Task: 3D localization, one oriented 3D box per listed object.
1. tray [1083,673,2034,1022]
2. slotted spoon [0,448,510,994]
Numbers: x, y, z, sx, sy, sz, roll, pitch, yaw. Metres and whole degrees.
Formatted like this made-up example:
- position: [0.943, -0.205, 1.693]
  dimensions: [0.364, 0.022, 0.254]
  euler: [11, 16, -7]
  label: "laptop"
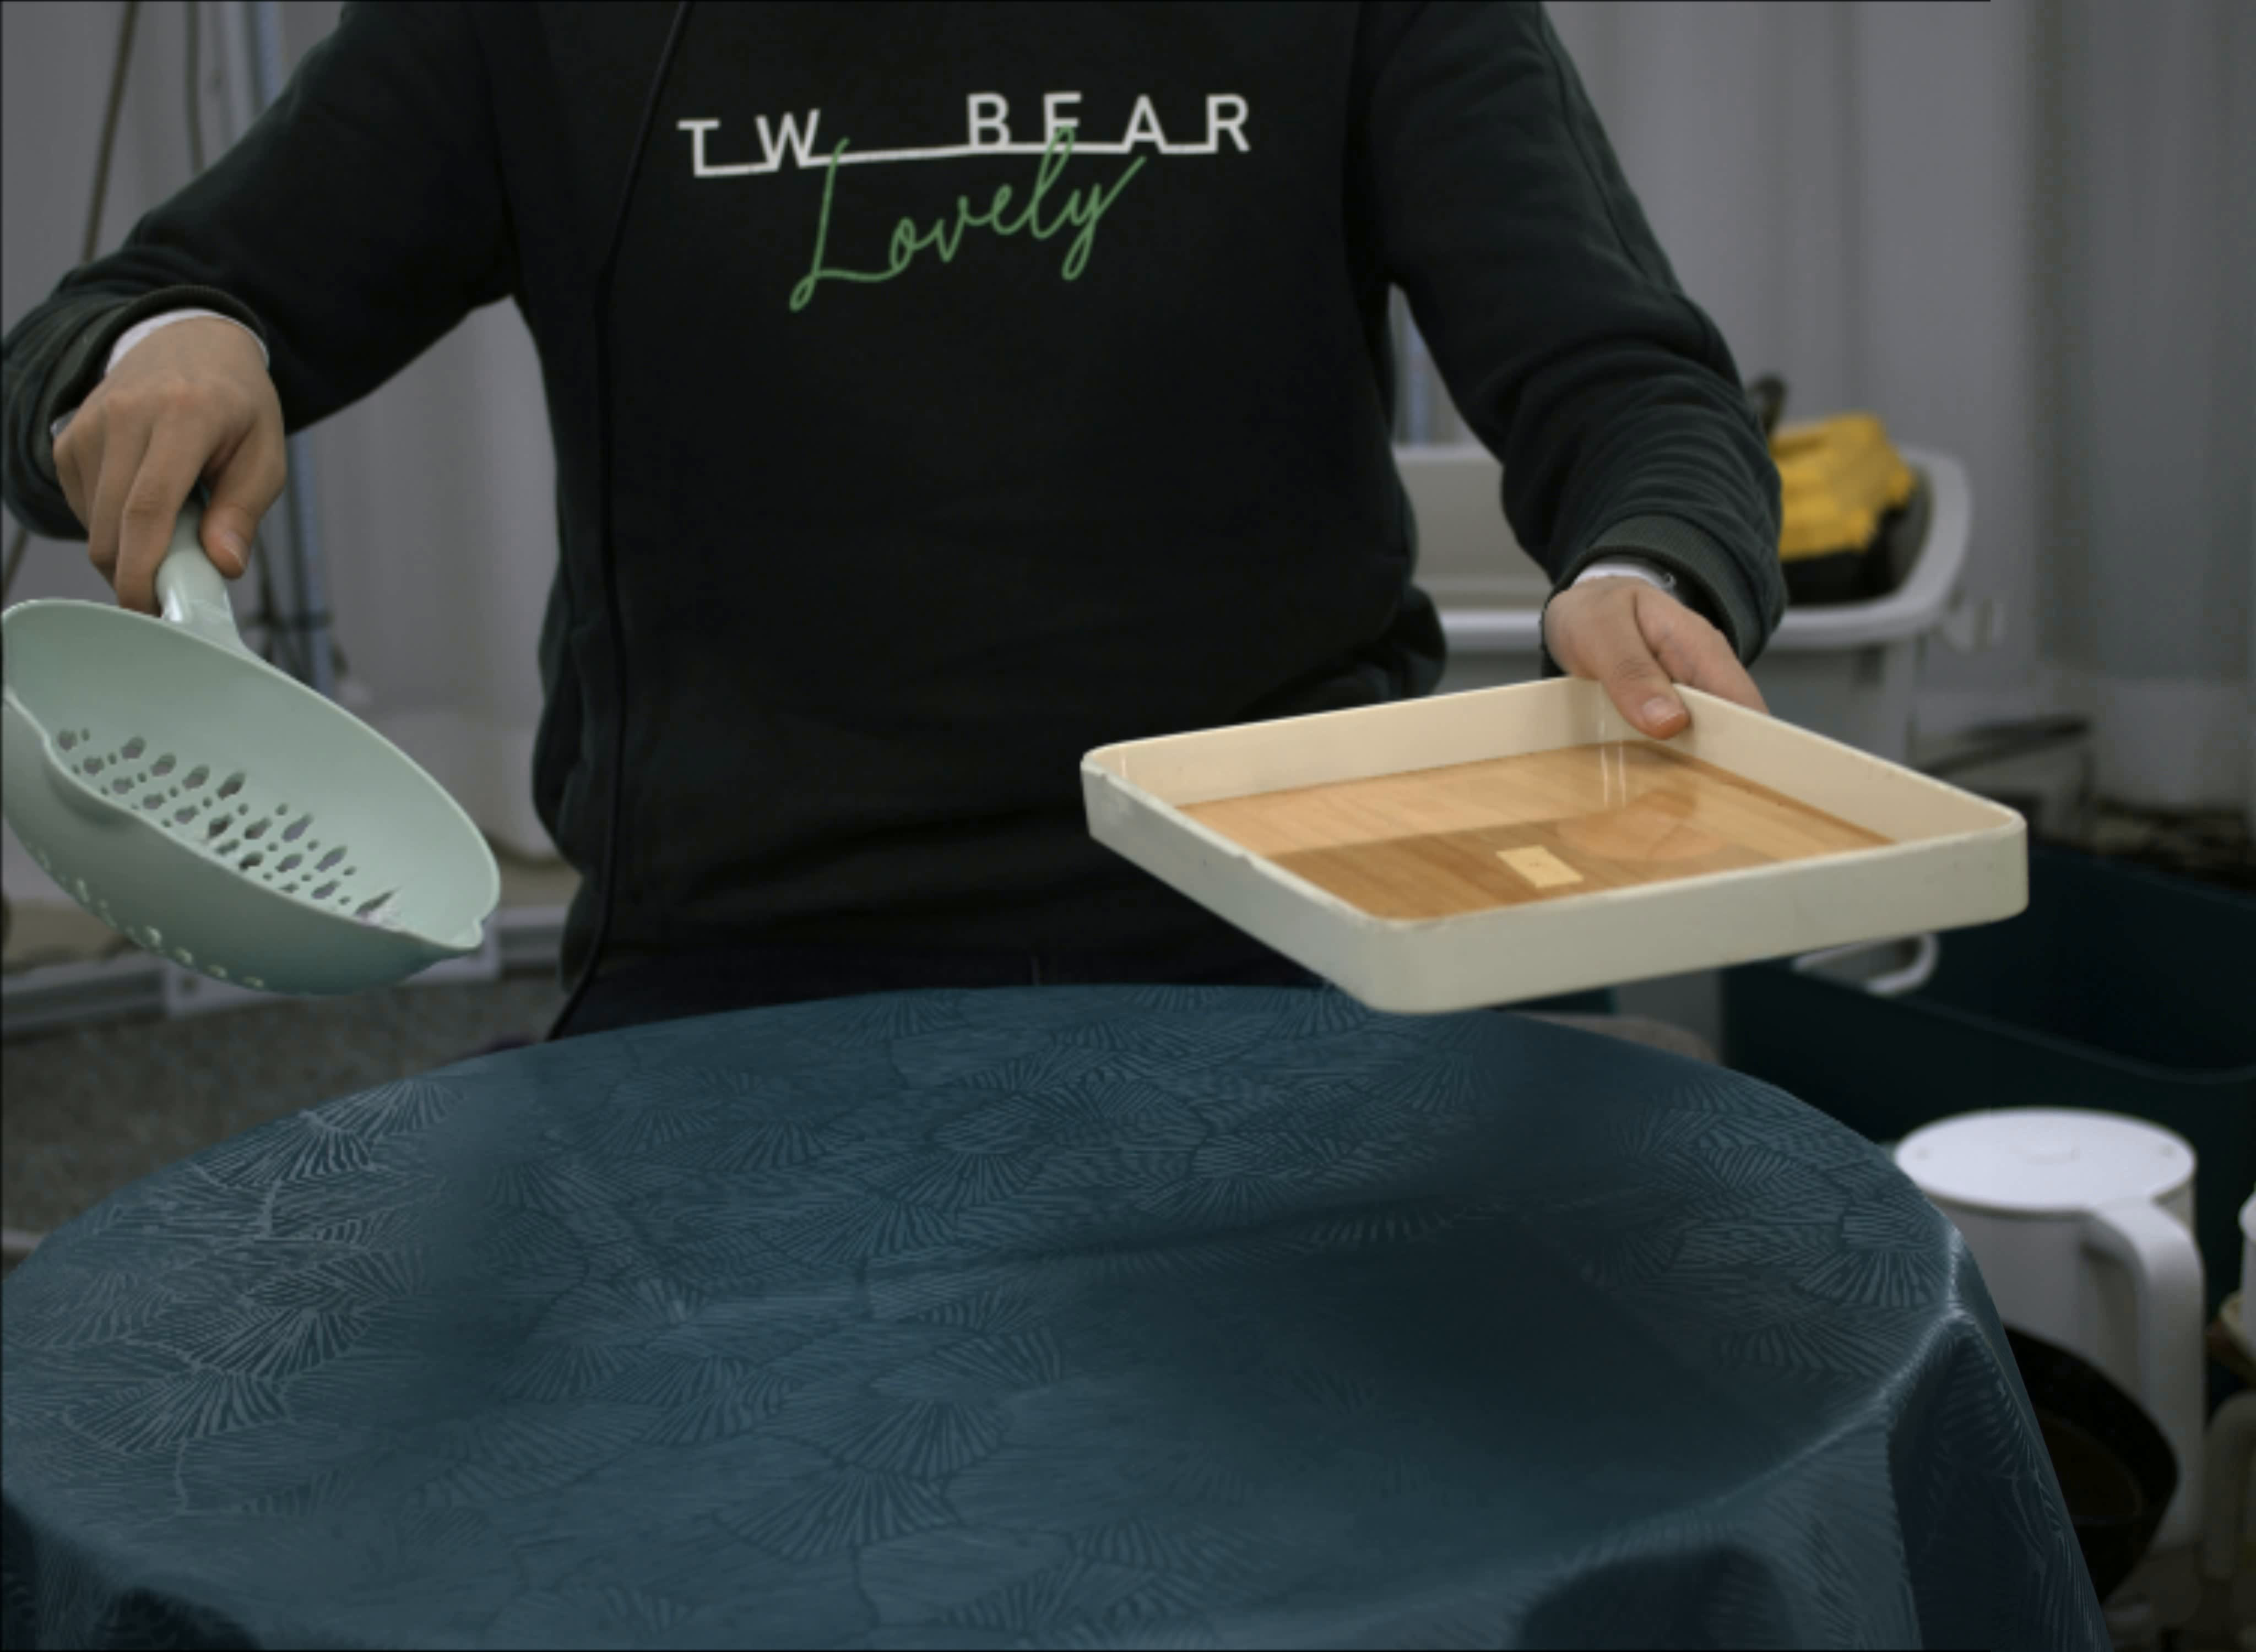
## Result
- position: [0.115, 0.002, 1.572]
  dimensions: [0.191, 0.027, 0.302]
  euler: [-9, 12, -15]
  label: "tray"
- position: [-0.288, -0.051, 1.701]
  dimensions: [0.168, 0.075, 0.364]
  euler: [26, 23, -25]
  label: "slotted spoon"
